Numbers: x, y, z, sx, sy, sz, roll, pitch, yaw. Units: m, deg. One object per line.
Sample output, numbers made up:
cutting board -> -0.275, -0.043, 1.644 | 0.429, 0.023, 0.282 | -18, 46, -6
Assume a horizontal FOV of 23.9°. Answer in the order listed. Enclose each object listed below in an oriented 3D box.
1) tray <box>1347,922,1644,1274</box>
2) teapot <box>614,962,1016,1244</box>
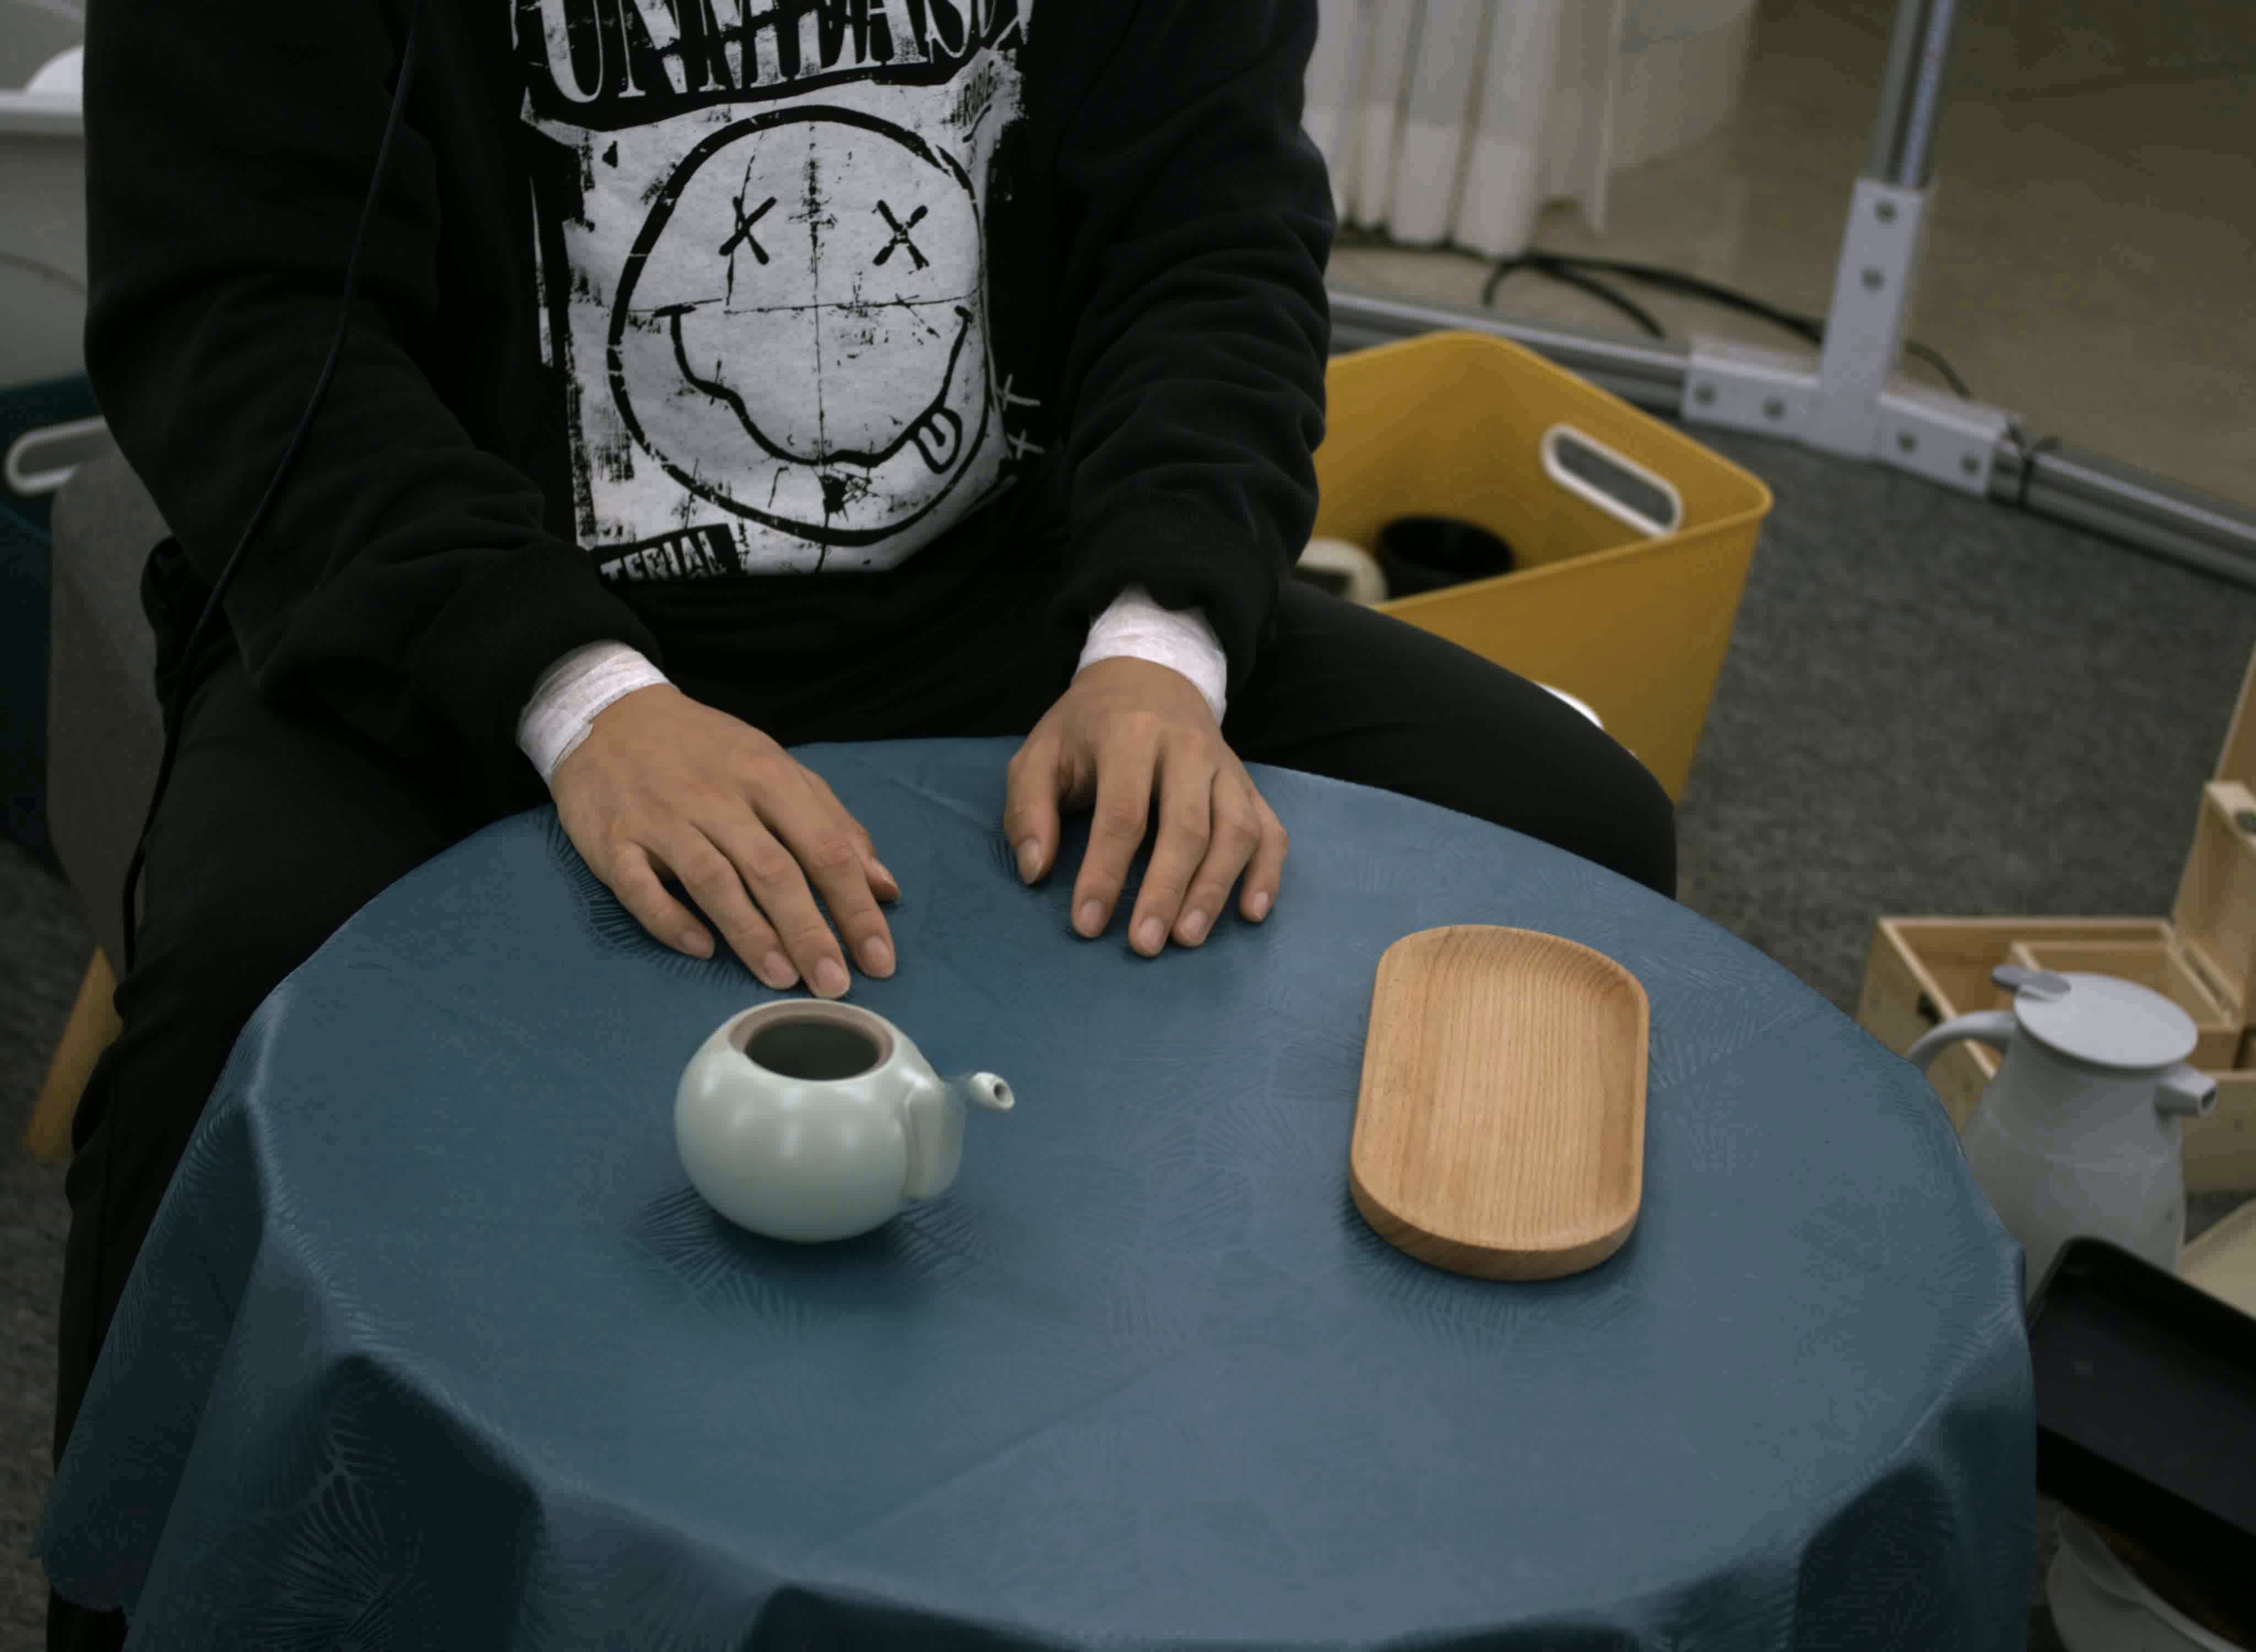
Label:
tray -> 0.131, 0.093, 1.877 | 0.101, 0.020, 0.232 | 9, 25, 2
teapot -> -0.106, 0.096, 1.756 | 0.144, 0.074, 0.088 | 19, 28, 20
